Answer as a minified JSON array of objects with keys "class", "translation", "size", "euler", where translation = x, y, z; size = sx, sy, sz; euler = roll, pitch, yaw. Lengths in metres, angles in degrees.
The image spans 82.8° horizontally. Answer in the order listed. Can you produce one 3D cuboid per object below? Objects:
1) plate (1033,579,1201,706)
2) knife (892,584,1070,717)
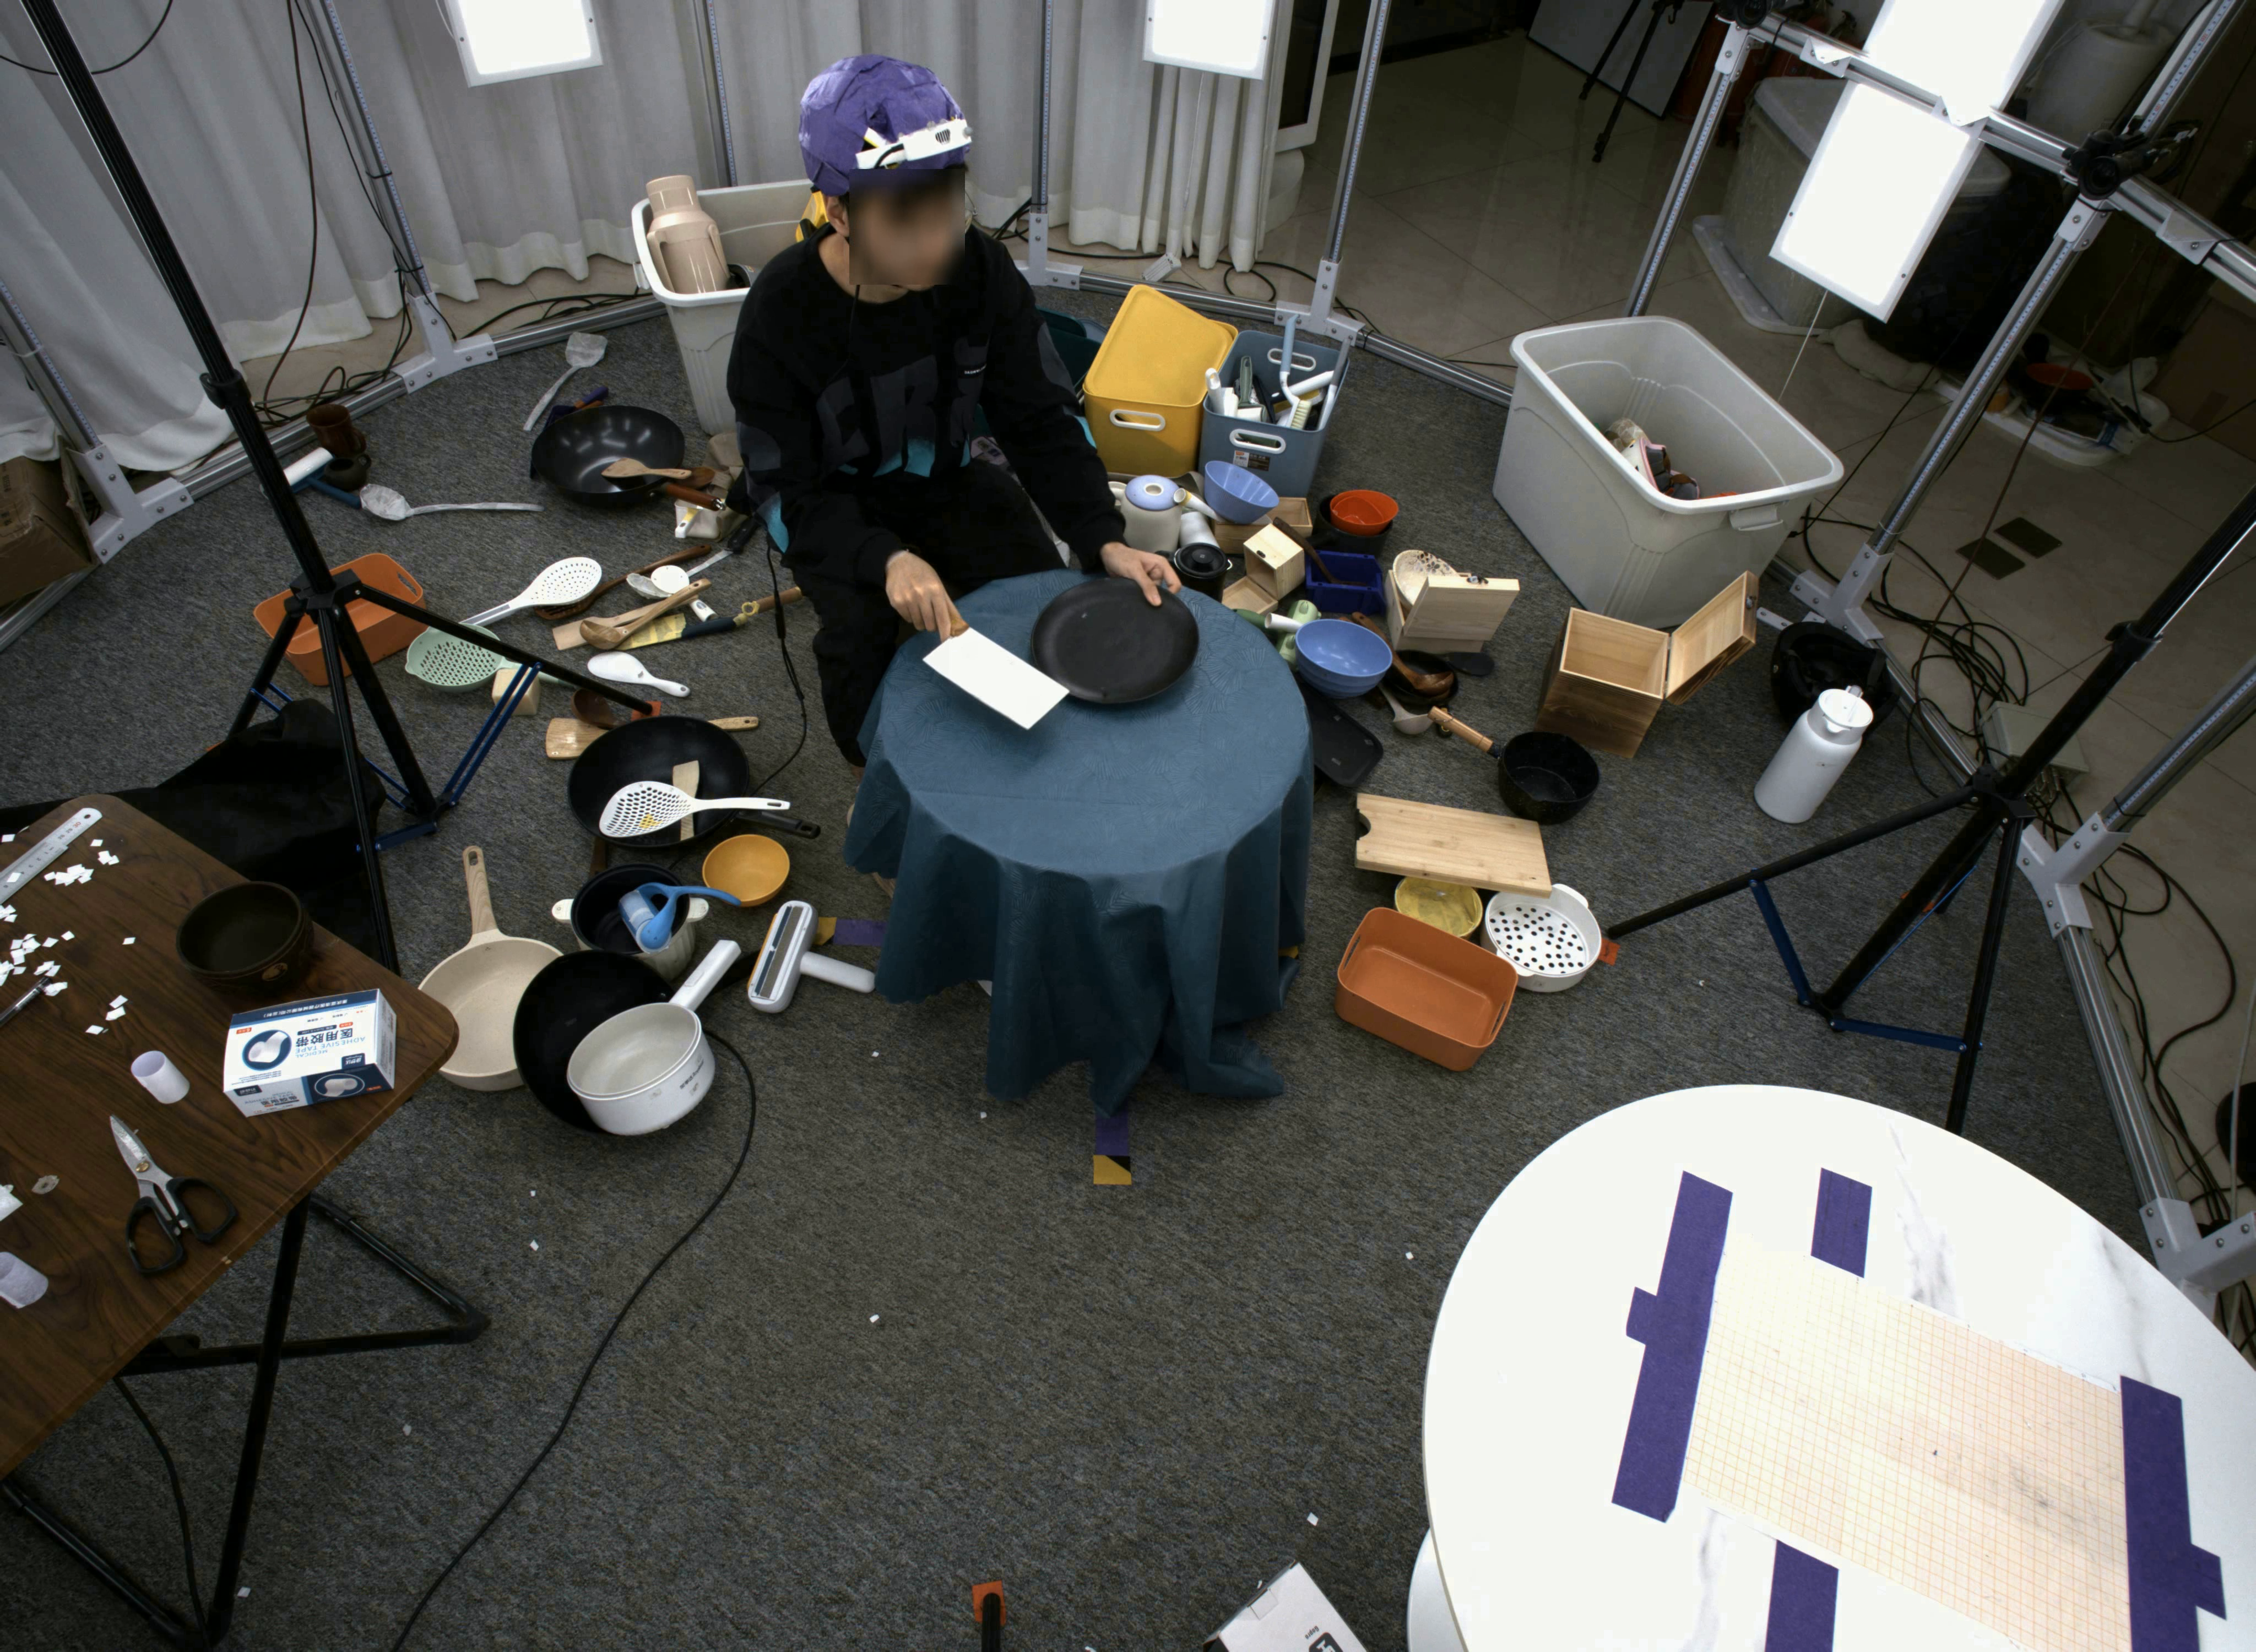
[{"class":"plate","translation":[-0.015,-0.265,1.868],"size":[0.244,0.023,0.250],"euler":[-1,54,2]},{"class":"knife","translation":[-0.222,-0.240,1.779],"size":[0.309,0.020,0.094],"euler":[34,57,19]}]
